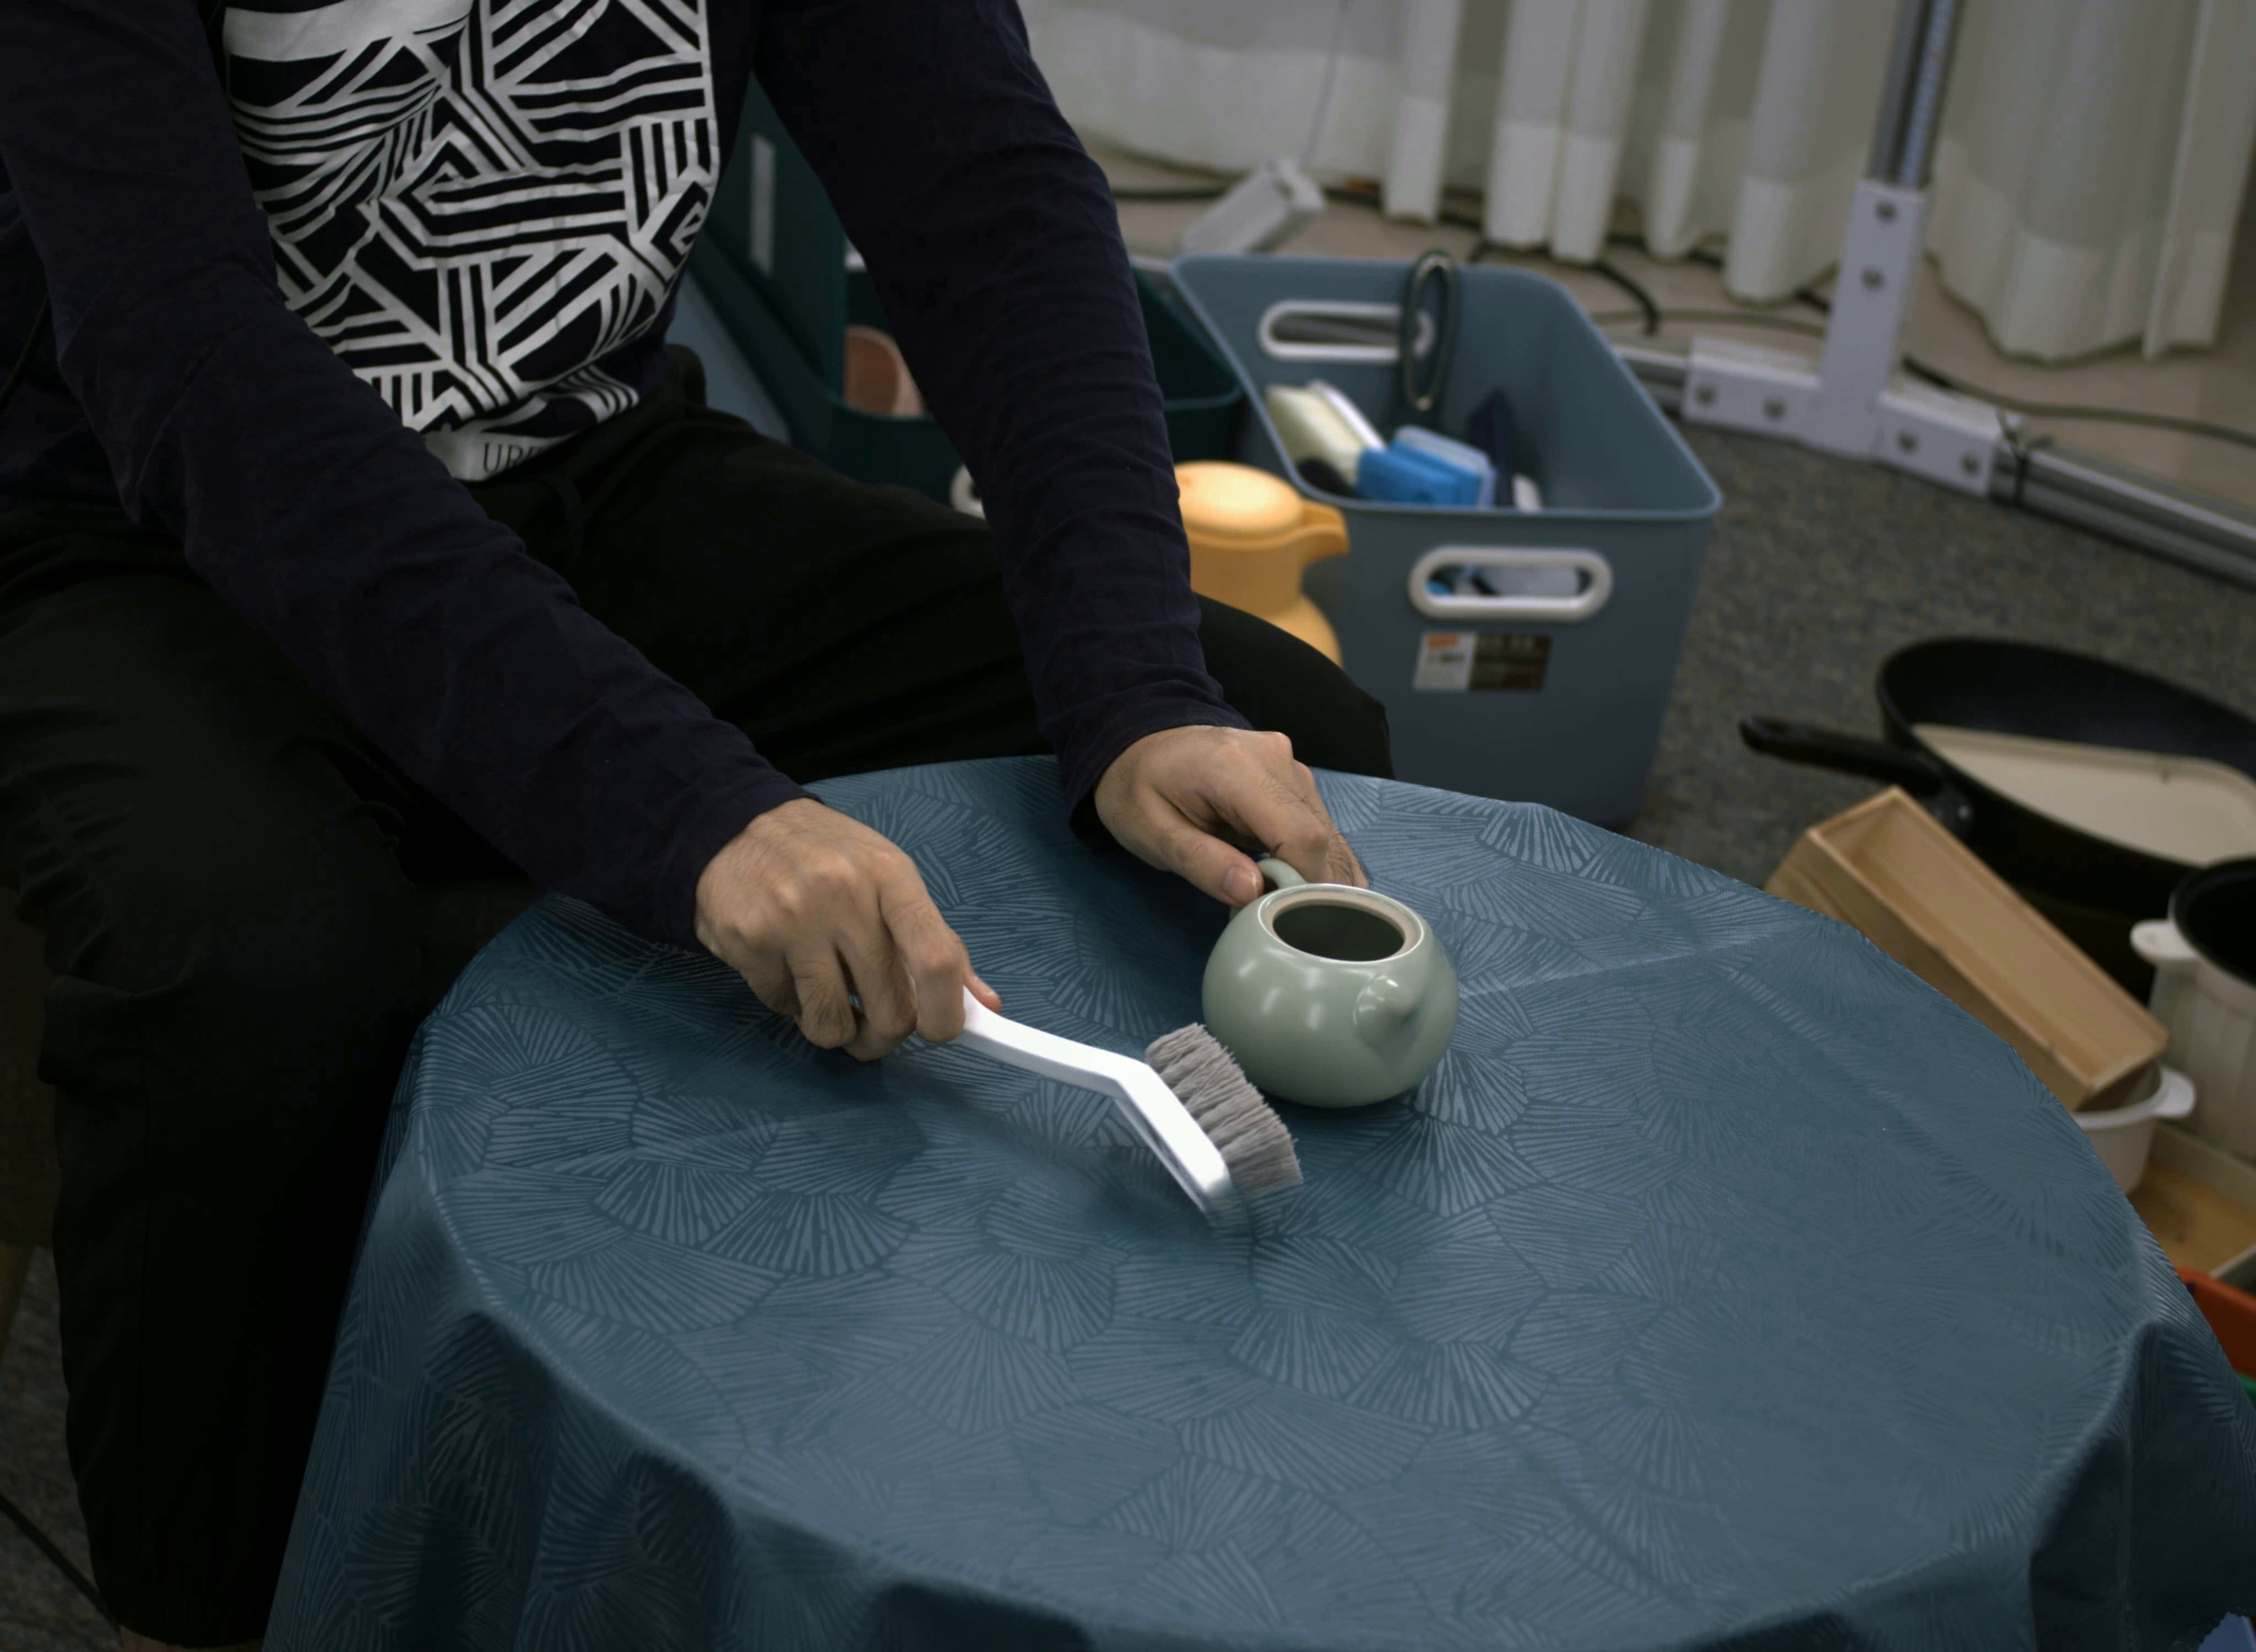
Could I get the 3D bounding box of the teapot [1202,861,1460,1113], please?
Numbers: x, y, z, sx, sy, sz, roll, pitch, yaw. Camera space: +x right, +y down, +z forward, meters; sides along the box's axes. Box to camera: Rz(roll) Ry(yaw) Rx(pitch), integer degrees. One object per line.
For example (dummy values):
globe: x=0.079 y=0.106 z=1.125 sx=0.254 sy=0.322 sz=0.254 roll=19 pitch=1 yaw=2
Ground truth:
teapot: x=0.068 y=0.058 z=1.889 sx=0.091 sy=0.061 sz=0.129 roll=-9 pitch=30 yaw=-17

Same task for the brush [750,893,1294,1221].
brush: x=-0.037 y=0.065 z=1.847 sx=0.245 sy=0.034 sz=0.050 roll=30 pitch=69 yaw=37
